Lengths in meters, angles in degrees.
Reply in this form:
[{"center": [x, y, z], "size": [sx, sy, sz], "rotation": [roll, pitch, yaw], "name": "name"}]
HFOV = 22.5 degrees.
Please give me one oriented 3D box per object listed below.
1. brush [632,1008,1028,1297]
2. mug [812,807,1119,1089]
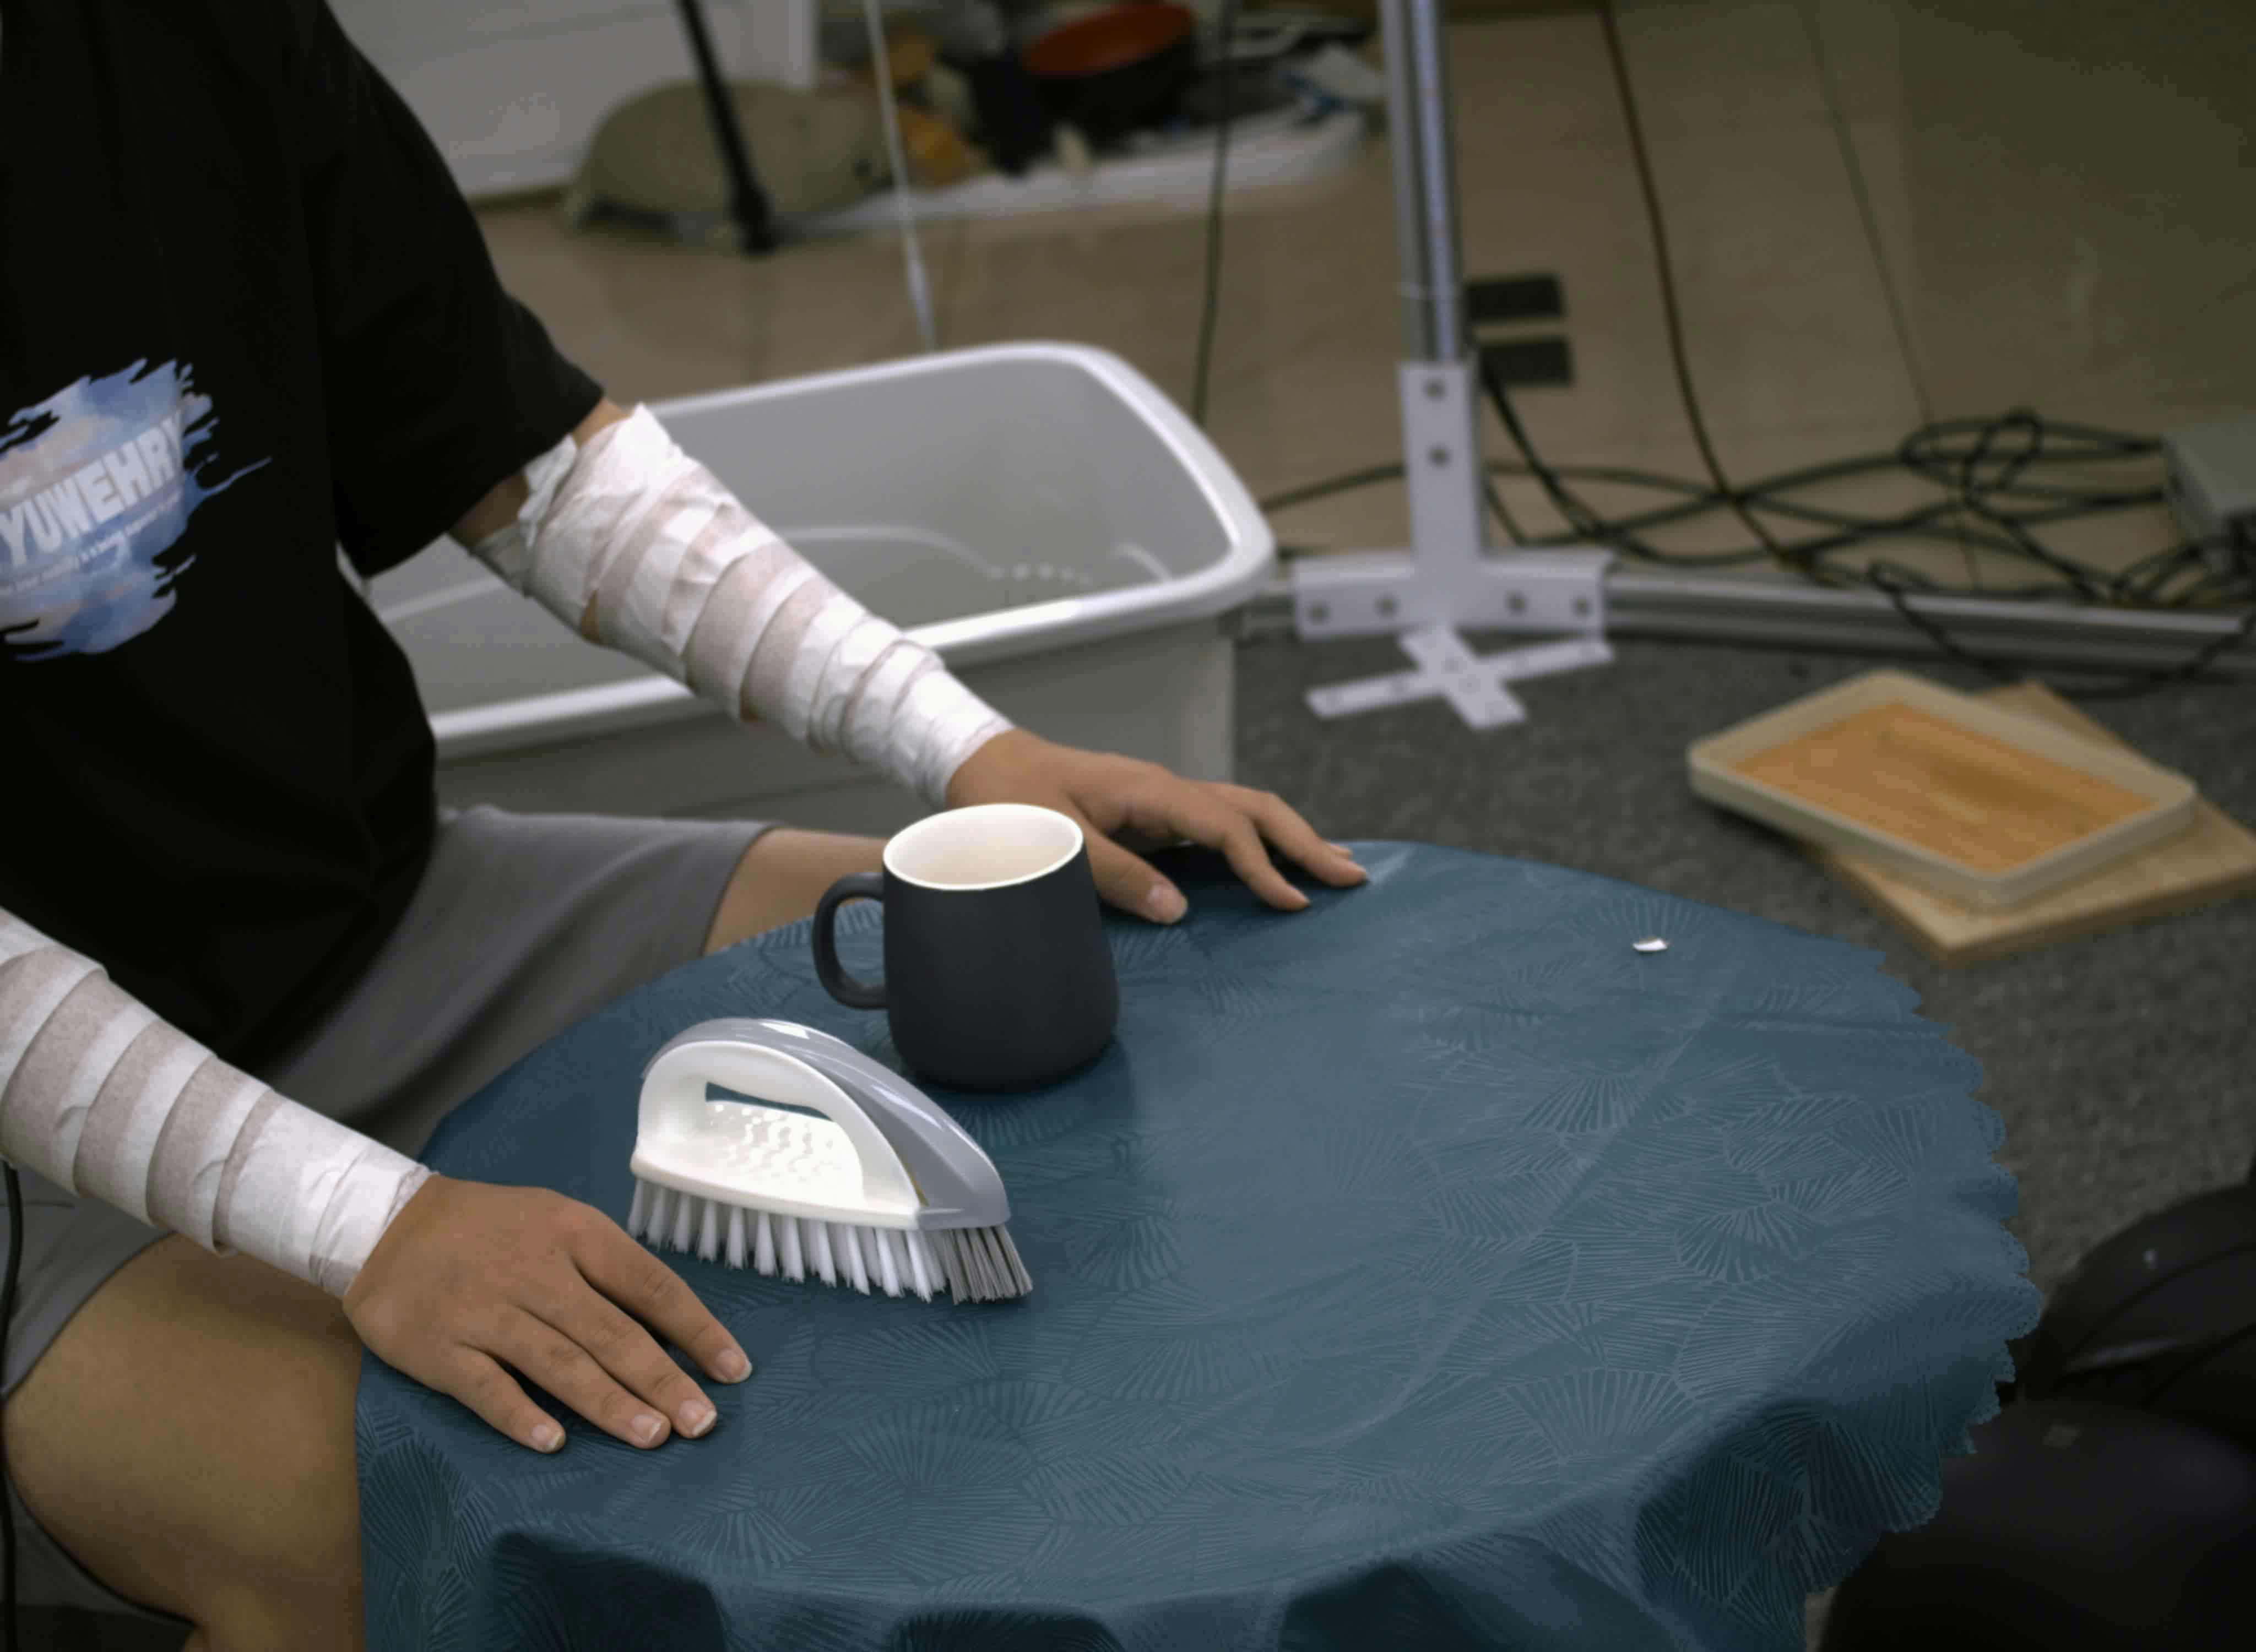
[{"center": [-0.111, 0.118, 2.112], "size": [0.174, 0.096, 0.061], "rotation": [14, 34, 35], "name": "brush"}, {"center": [-0.067, 0.048, 2.253], "size": [0.123, 0.091, 0.092], "rotation": [2, 26, 18], "name": "mug"}]
